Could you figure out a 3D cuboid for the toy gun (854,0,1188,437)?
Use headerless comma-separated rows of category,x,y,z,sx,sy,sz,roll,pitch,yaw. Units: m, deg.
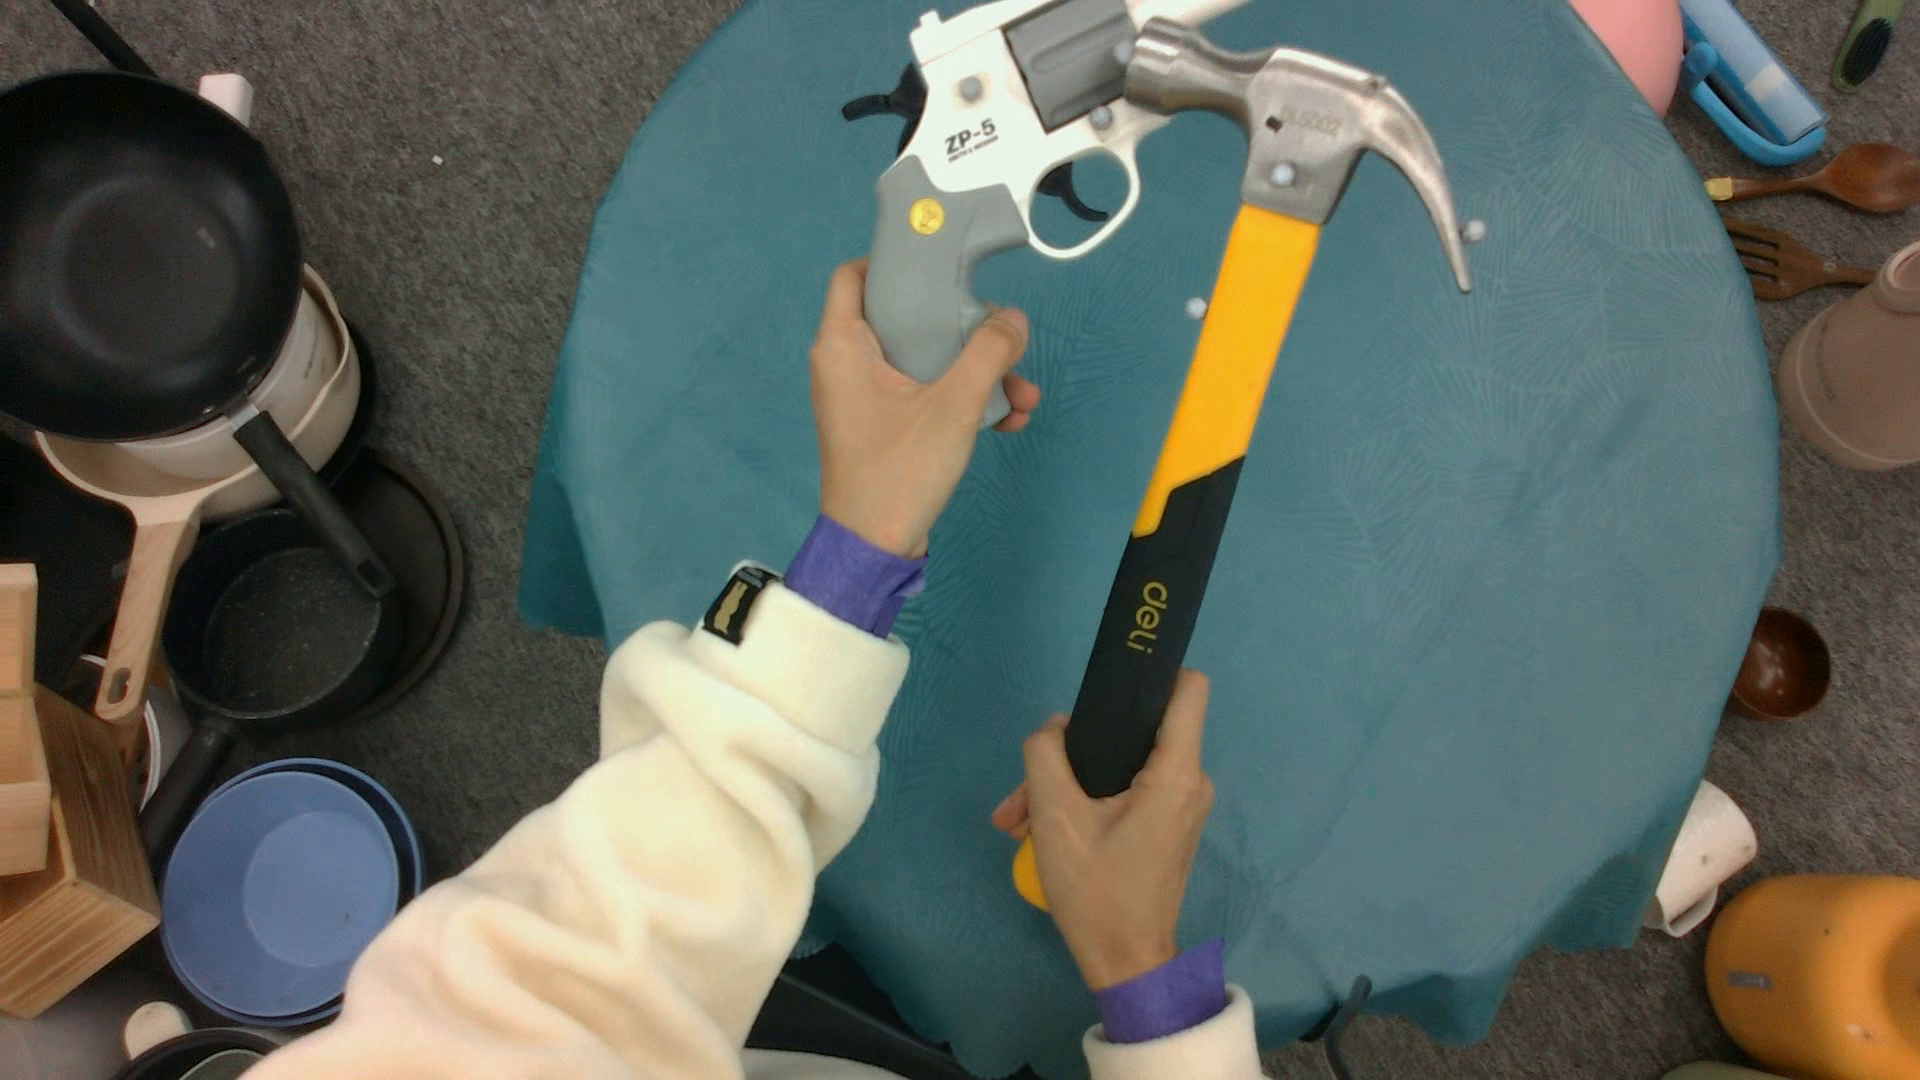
toy gun,0.034,-0.140,0.506,0.209,0.039,0.141,-28,91,4

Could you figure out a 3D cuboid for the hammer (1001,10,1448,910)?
hammer,0.076,-0.009,0.513,0.131,0.032,0.337,19,108,12
